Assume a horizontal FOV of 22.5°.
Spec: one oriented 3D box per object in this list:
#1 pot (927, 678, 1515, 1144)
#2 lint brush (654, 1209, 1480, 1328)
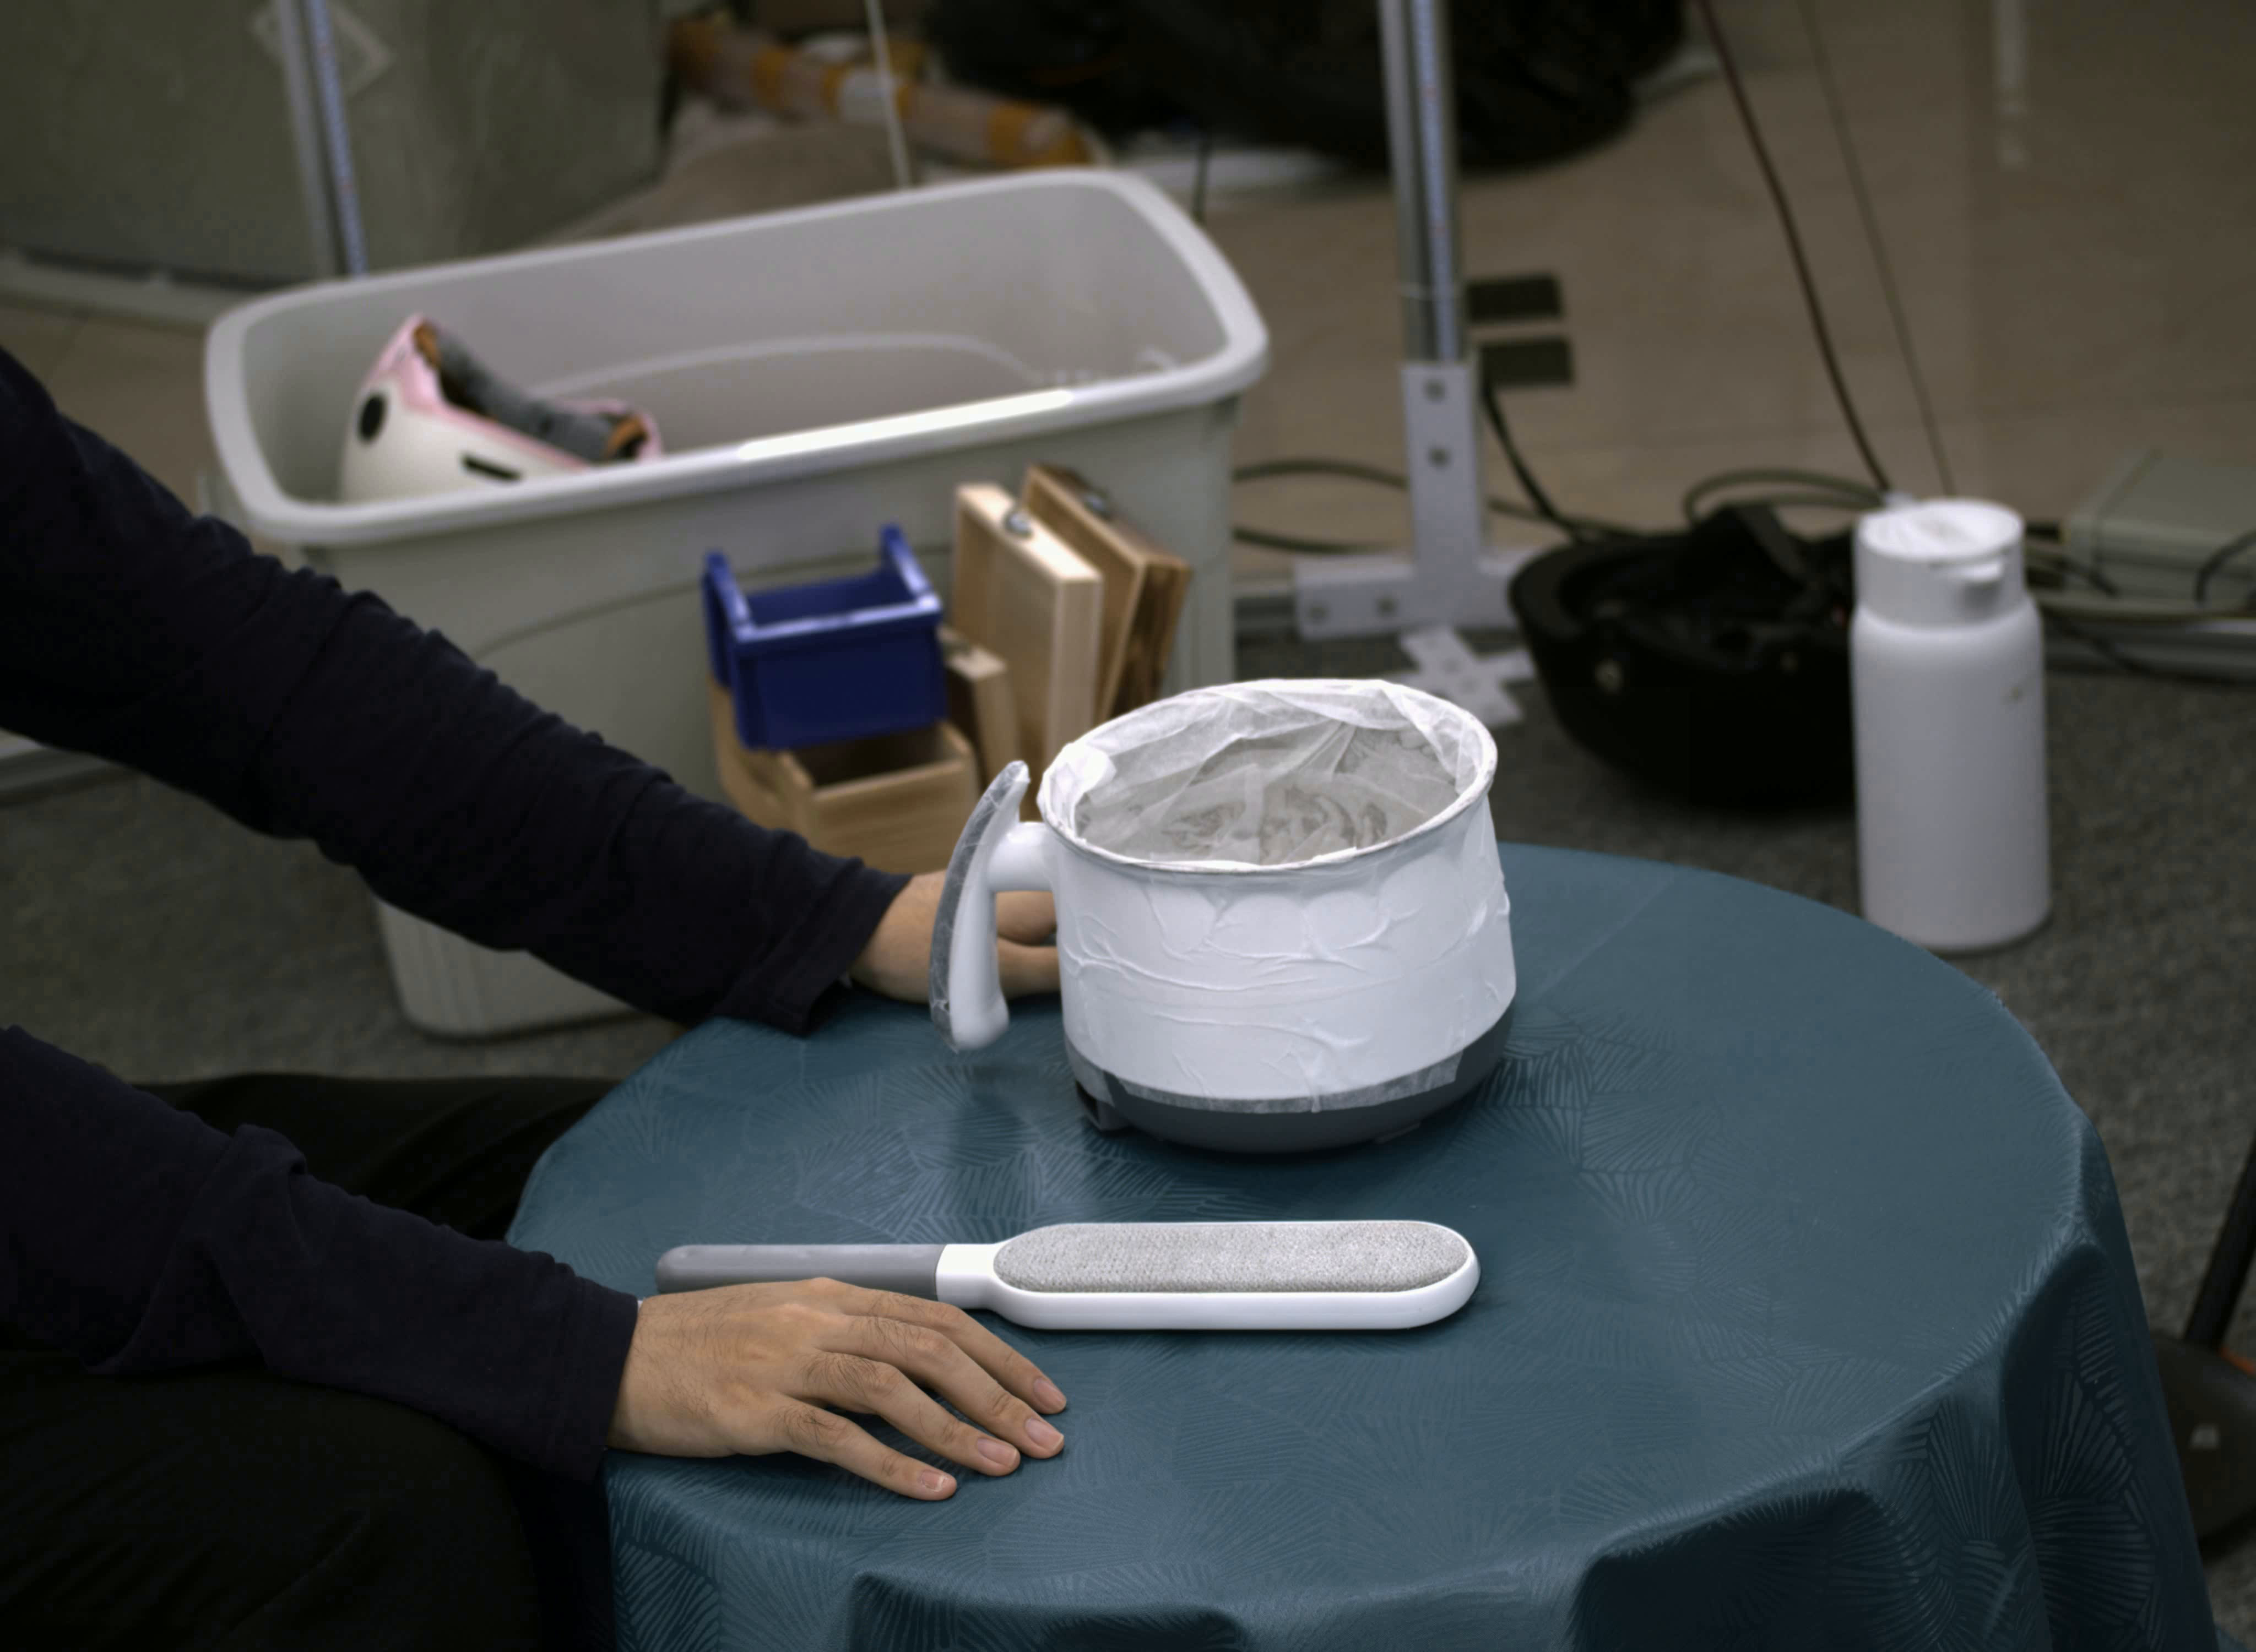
[{"bbox_3d":[0.033,0.034,2.199,0.233,0.138,0.176,0,23,12],"label":"pot"},{"bbox_3d":[-0.025,0.161,2.077,0.308,0.021,0.059,-1,32,12],"label":"lint brush"}]
